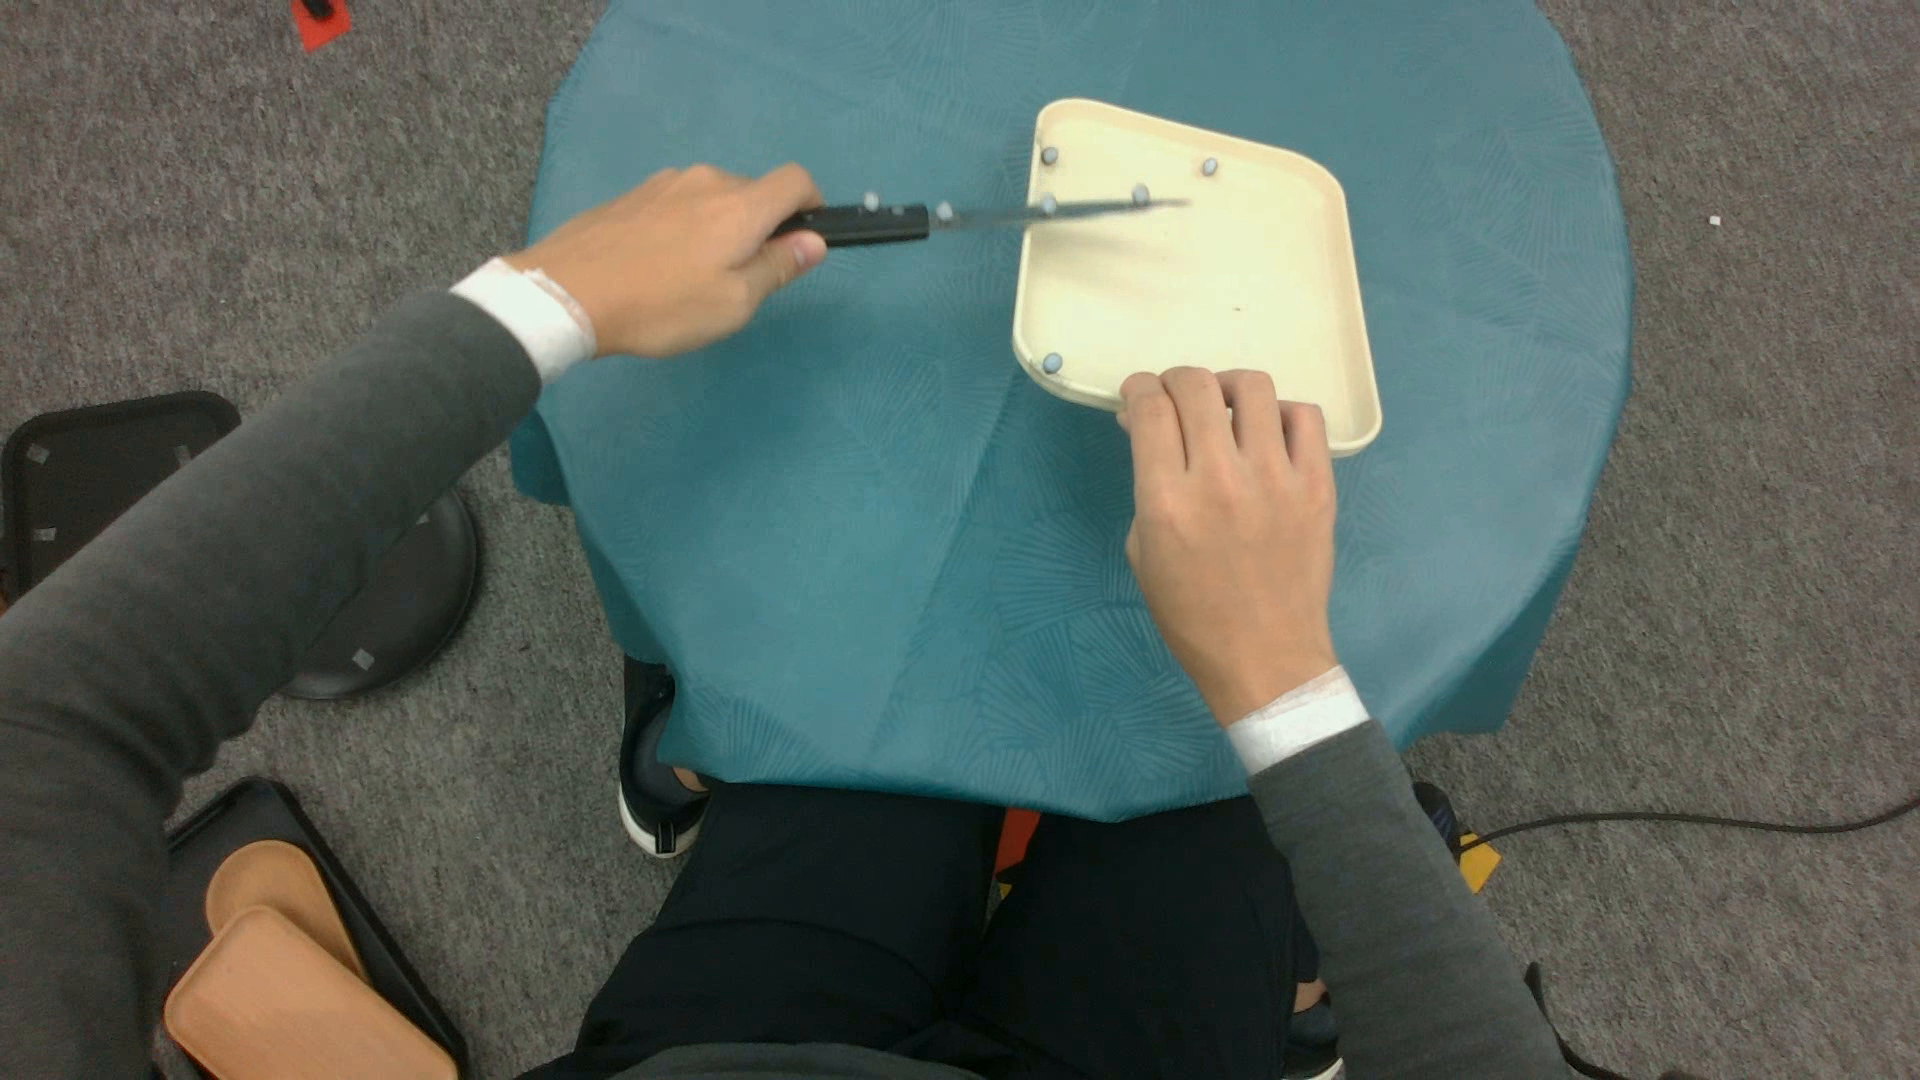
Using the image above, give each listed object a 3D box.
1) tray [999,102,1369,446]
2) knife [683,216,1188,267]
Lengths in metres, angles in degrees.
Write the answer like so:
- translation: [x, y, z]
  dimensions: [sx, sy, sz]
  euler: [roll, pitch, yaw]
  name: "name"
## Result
- translation: [0.105, -0.136, 0.673]
  dimensions: [0.171, 0.017, 0.241]
  euler: [12, 45, -5]
  name: "tray"
- translation: [-0.011, -0.142, 0.644]
  dimensions: [0.238, 0.016, 0.024]
  euler: [-3, 39, -1]
  name: "knife"
